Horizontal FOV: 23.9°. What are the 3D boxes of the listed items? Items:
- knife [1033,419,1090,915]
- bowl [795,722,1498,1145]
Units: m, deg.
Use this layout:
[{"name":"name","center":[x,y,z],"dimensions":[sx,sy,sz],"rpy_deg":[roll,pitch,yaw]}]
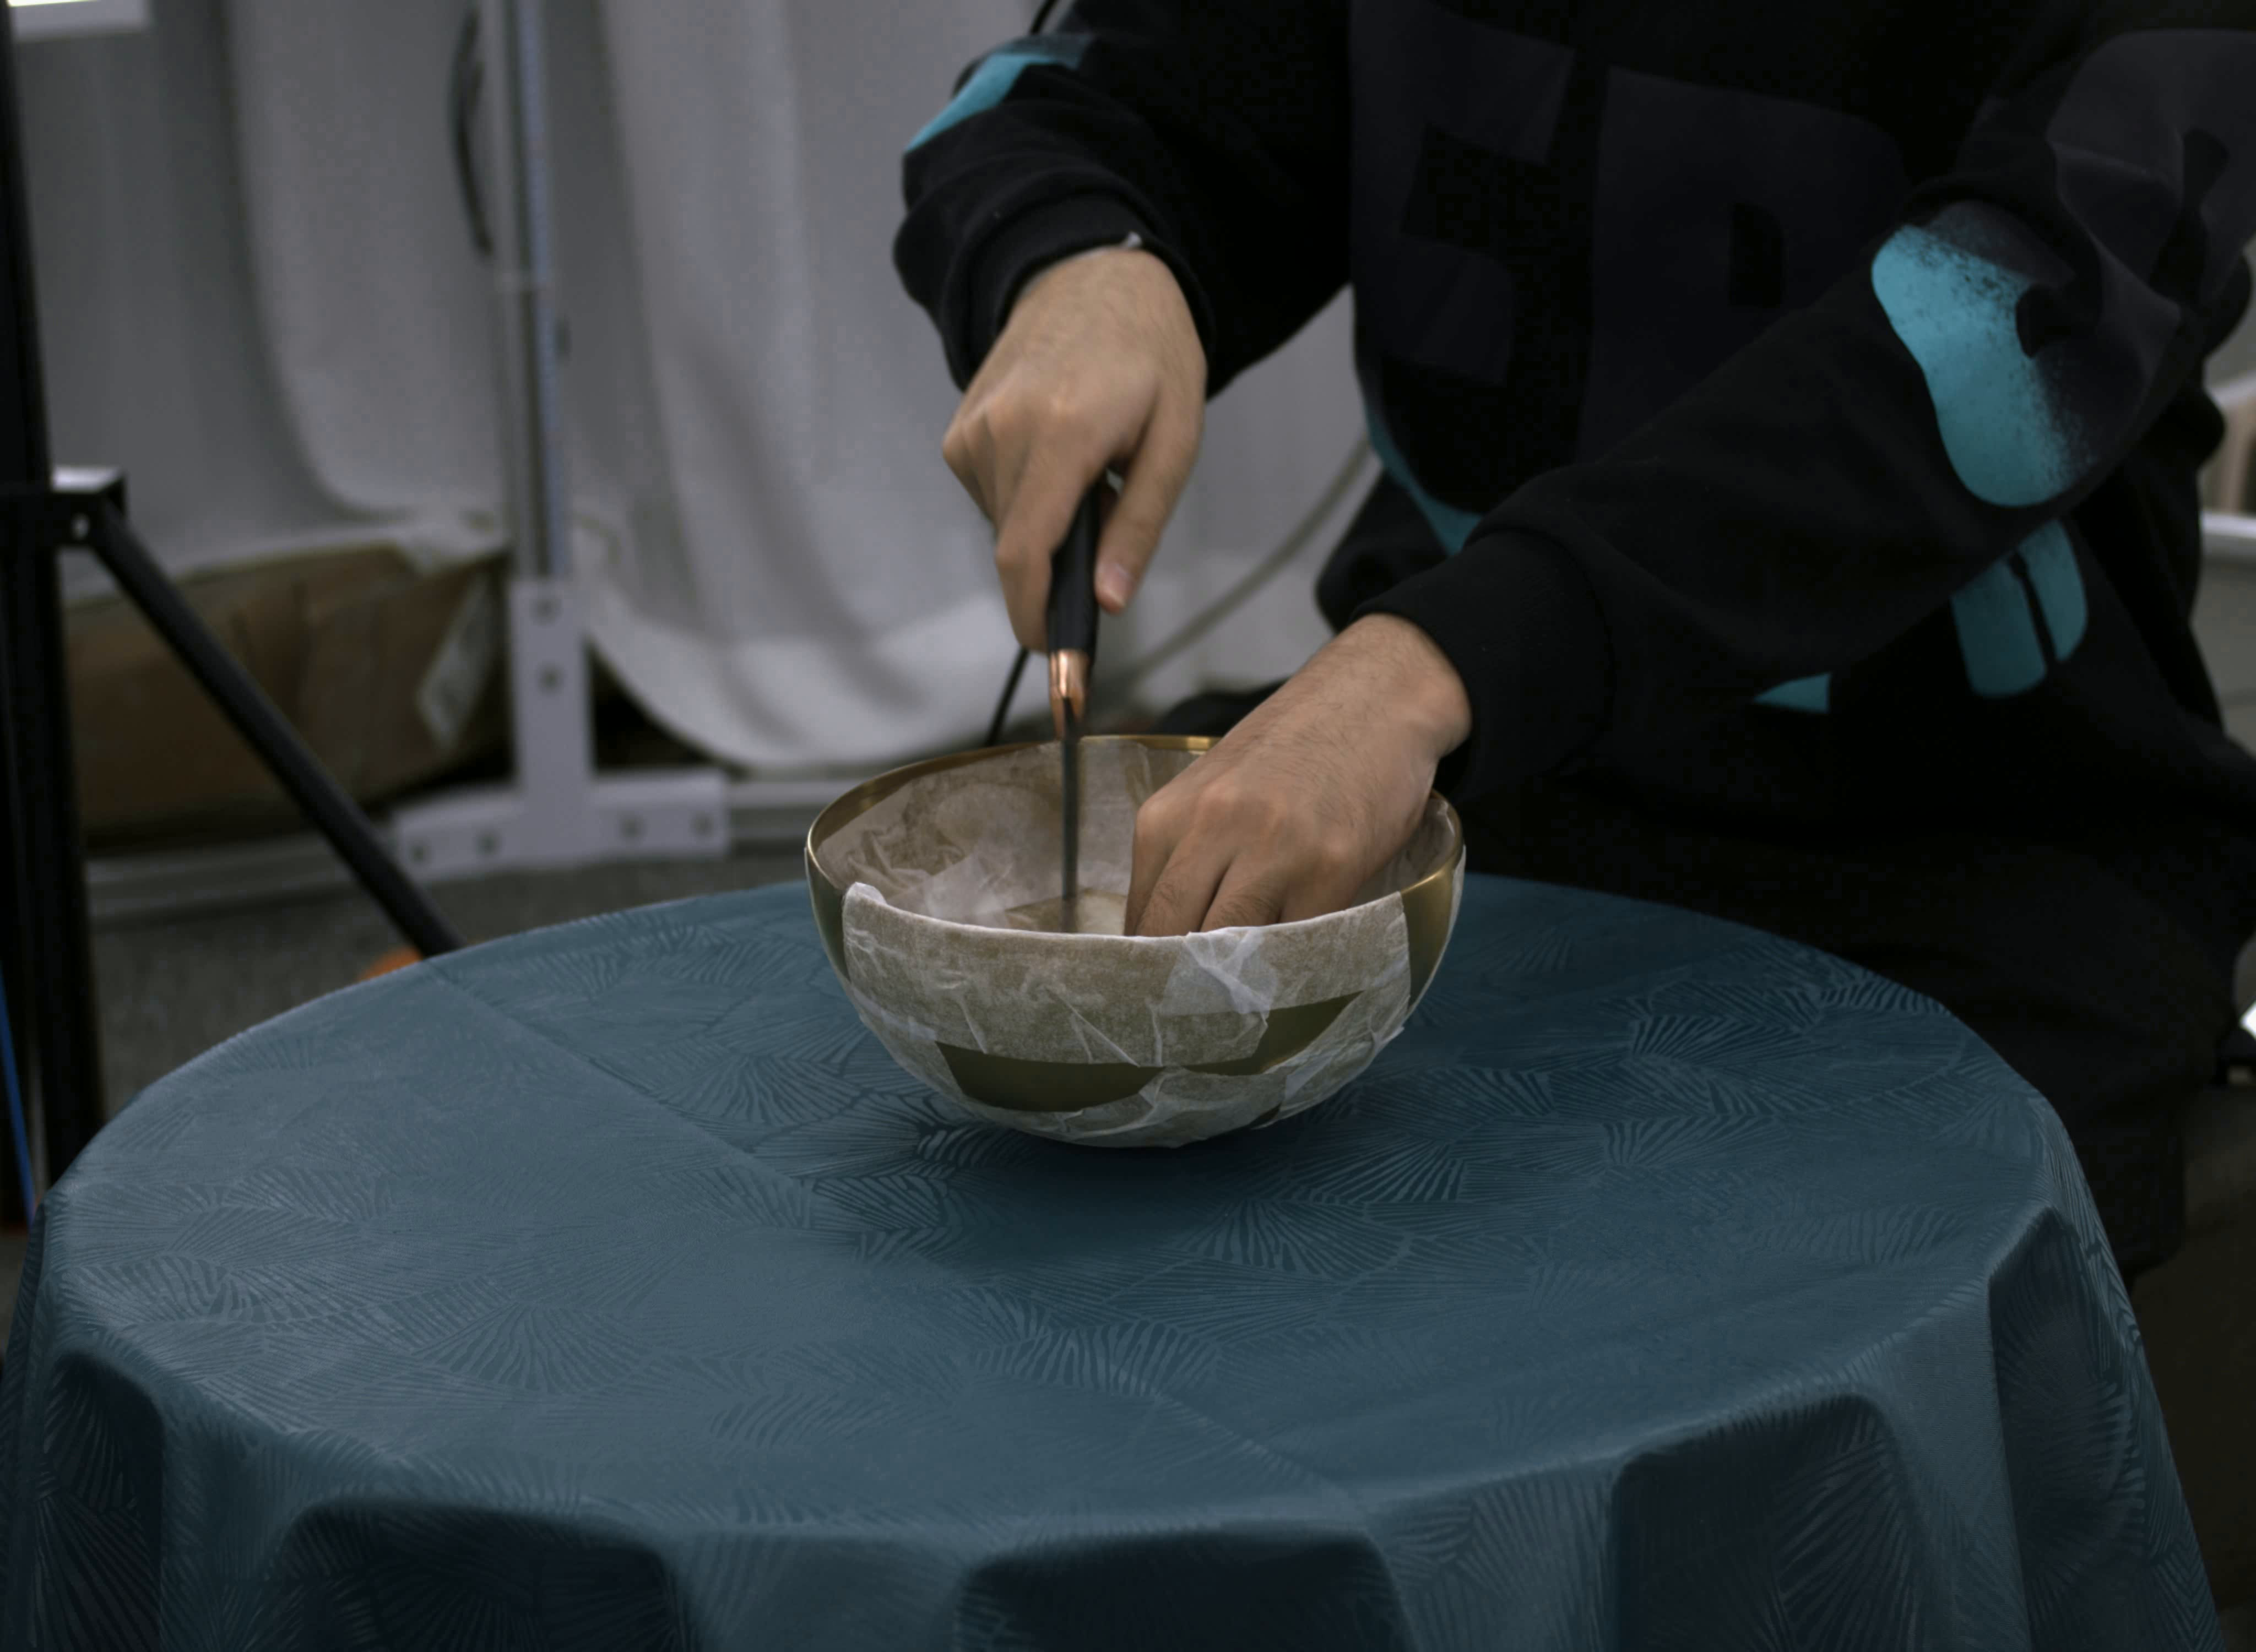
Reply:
[{"name":"knife","center":[-0.019,-0.036,1.650],"dimensions":[0.017,0.026,0.228],"rpy_deg":[-6,52,5]},{"name":"bowl","center":[0.006,0.041,1.615],"dimensions":[0.213,0.094,0.216],"rpy_deg":[-3,17,-1]}]
